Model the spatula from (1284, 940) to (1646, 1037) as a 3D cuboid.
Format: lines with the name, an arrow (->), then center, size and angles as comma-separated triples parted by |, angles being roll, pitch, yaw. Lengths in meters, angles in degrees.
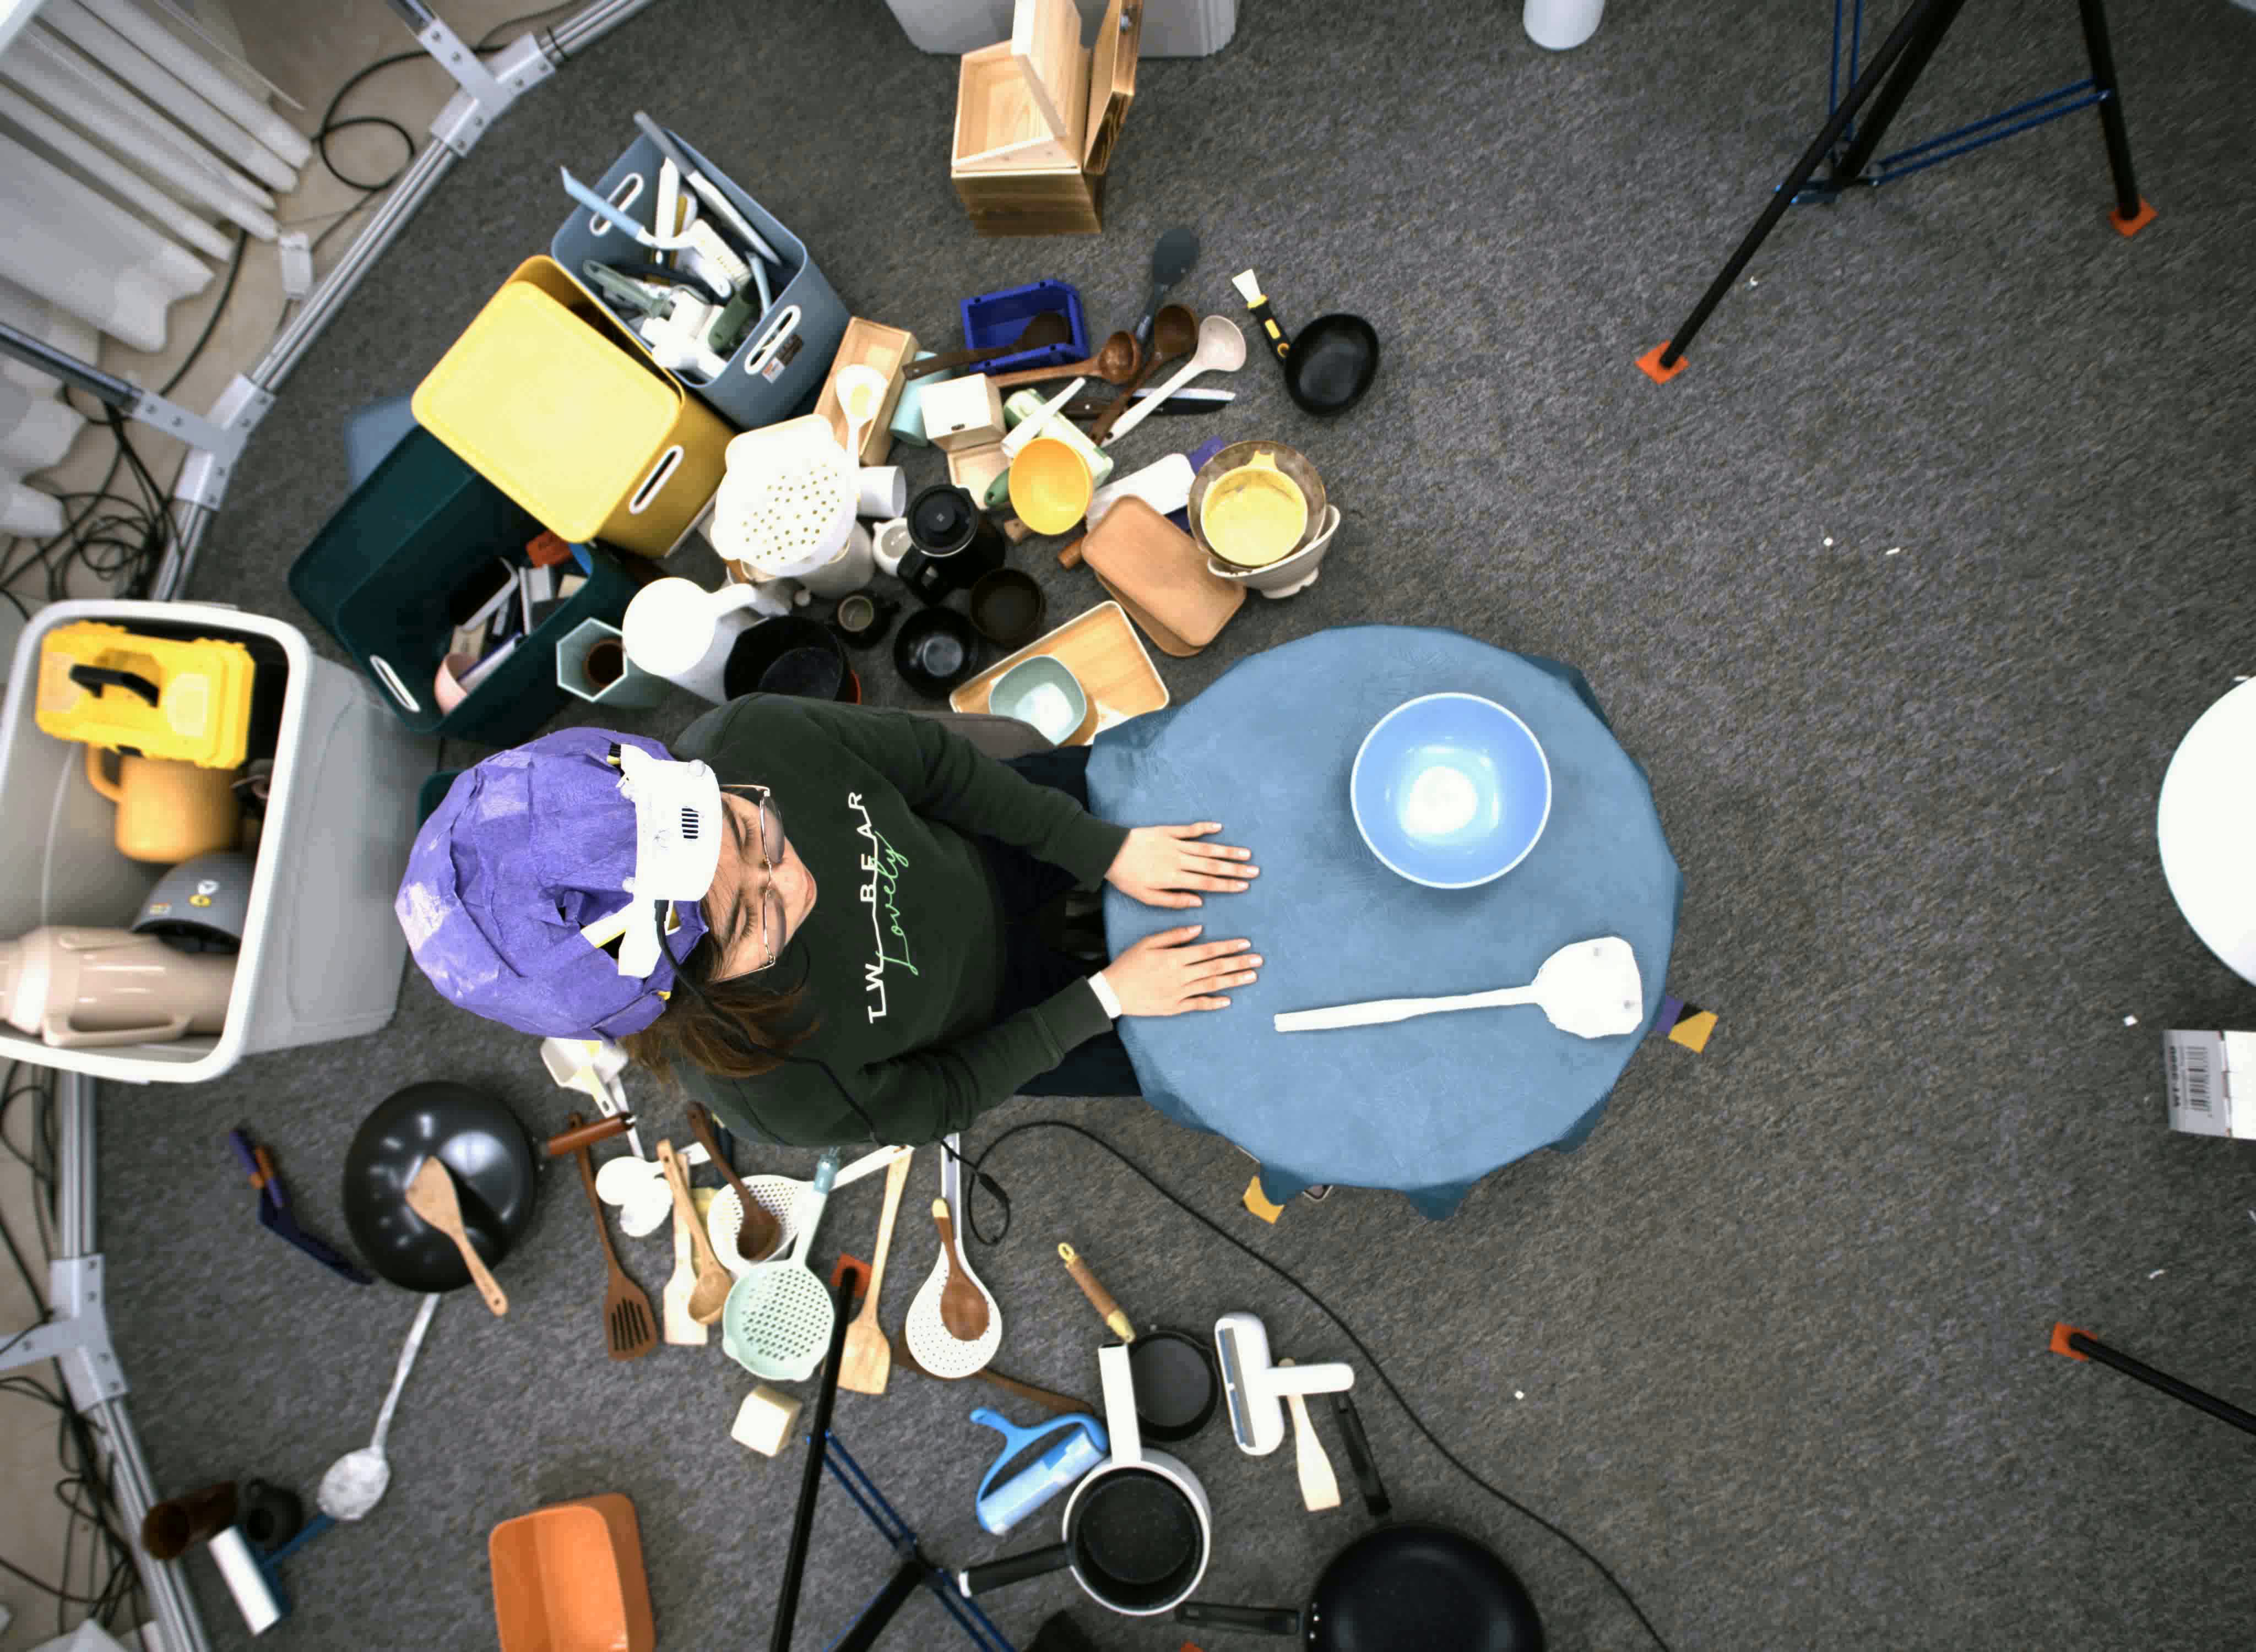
spatula -> 0.342, 0.179, 1.425 | 0.366, 0.045, 0.098 | -7, 86, 10

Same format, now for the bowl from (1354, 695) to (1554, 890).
bowl -> 0.329, -0.031, 1.412 | 0.197, 0.095, 0.195 | -1, 86, 8
